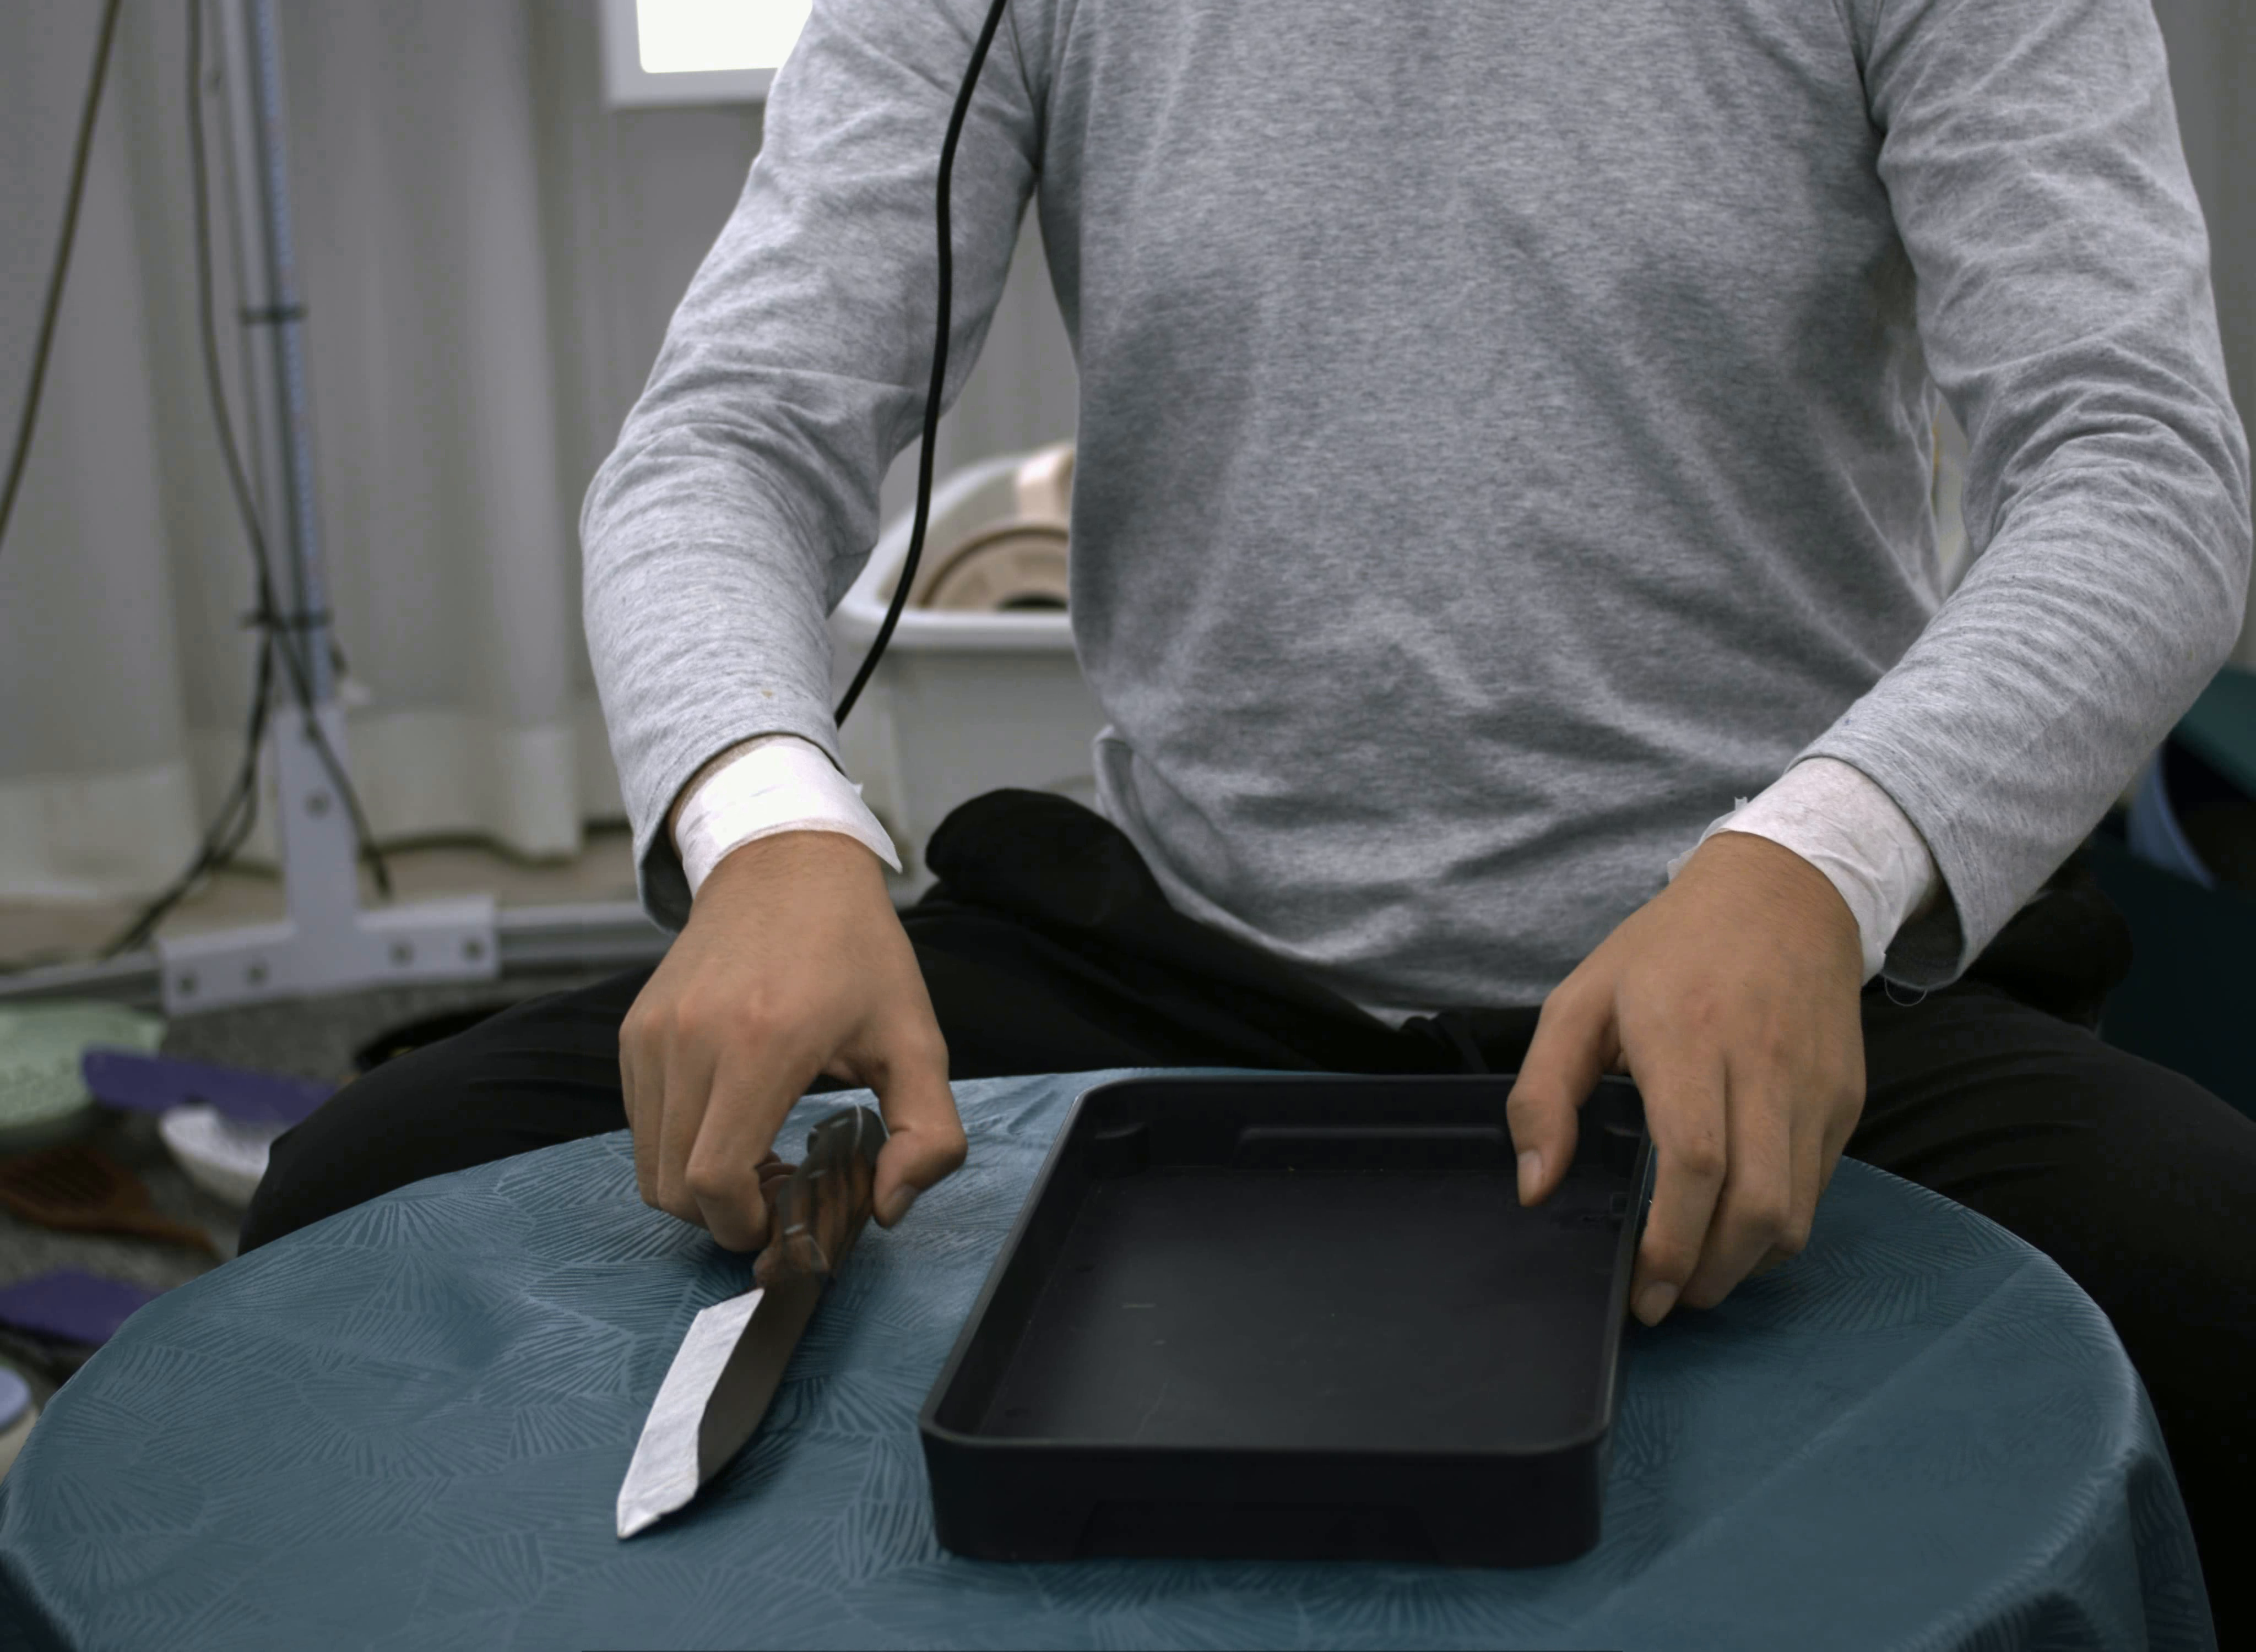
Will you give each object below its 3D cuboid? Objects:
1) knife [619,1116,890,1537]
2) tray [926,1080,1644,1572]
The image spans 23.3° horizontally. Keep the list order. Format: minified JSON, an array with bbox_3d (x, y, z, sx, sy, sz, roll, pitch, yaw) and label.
[{"bbox_3d":[-0.107,0.144,1.588,0.050,0.020,0.291,-19,14,15],"label":"knife"},{"bbox_3d":[0.053,0.137,1.556,0.184,0.037,0.319,-1,14,7],"label":"tray"}]
